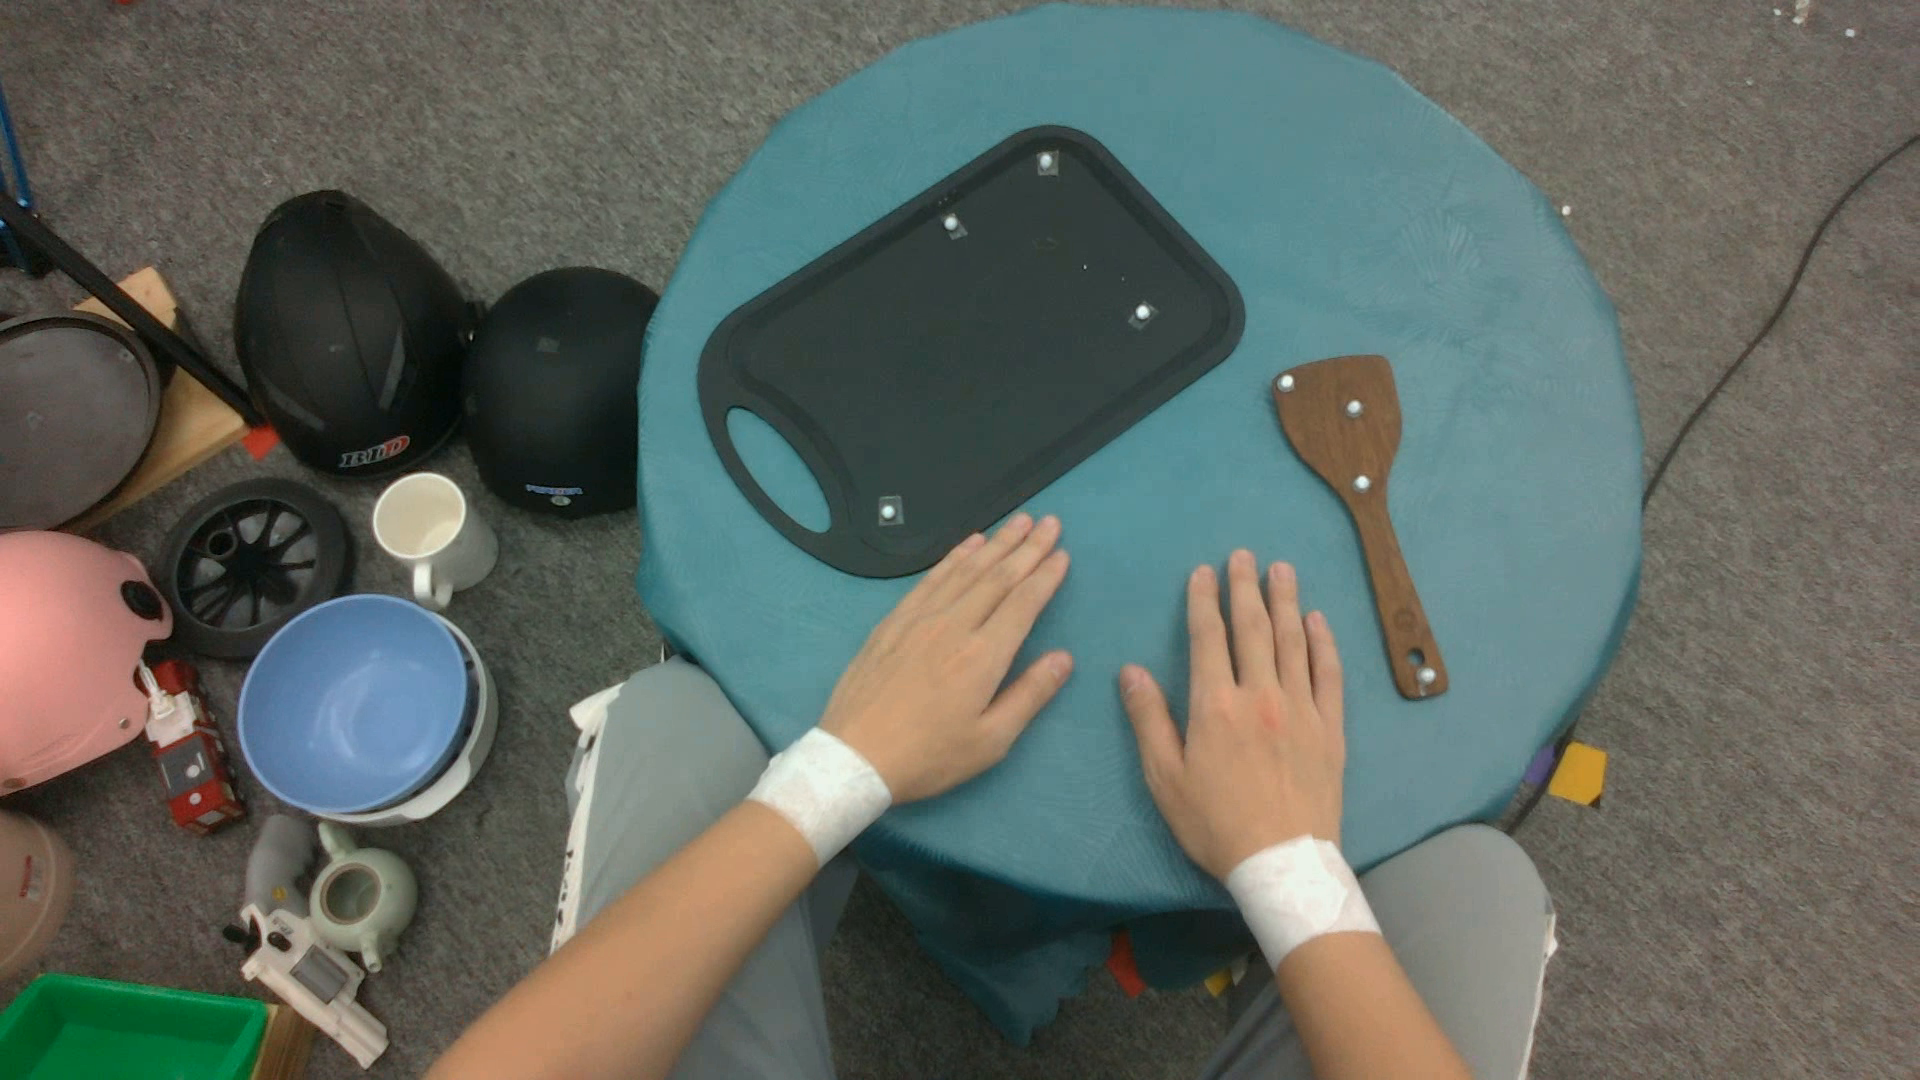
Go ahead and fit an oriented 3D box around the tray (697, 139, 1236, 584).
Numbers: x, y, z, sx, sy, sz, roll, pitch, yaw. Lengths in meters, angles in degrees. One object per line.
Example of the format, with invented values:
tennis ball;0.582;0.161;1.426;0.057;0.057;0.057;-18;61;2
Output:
tray;0.000;-0.115;0.850;0.326;0.010;0.211;-35;71;-13

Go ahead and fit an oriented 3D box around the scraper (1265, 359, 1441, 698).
scraper;0.238;-0.010;0.804;0.076;0.011;0.212;-10;68;-3
